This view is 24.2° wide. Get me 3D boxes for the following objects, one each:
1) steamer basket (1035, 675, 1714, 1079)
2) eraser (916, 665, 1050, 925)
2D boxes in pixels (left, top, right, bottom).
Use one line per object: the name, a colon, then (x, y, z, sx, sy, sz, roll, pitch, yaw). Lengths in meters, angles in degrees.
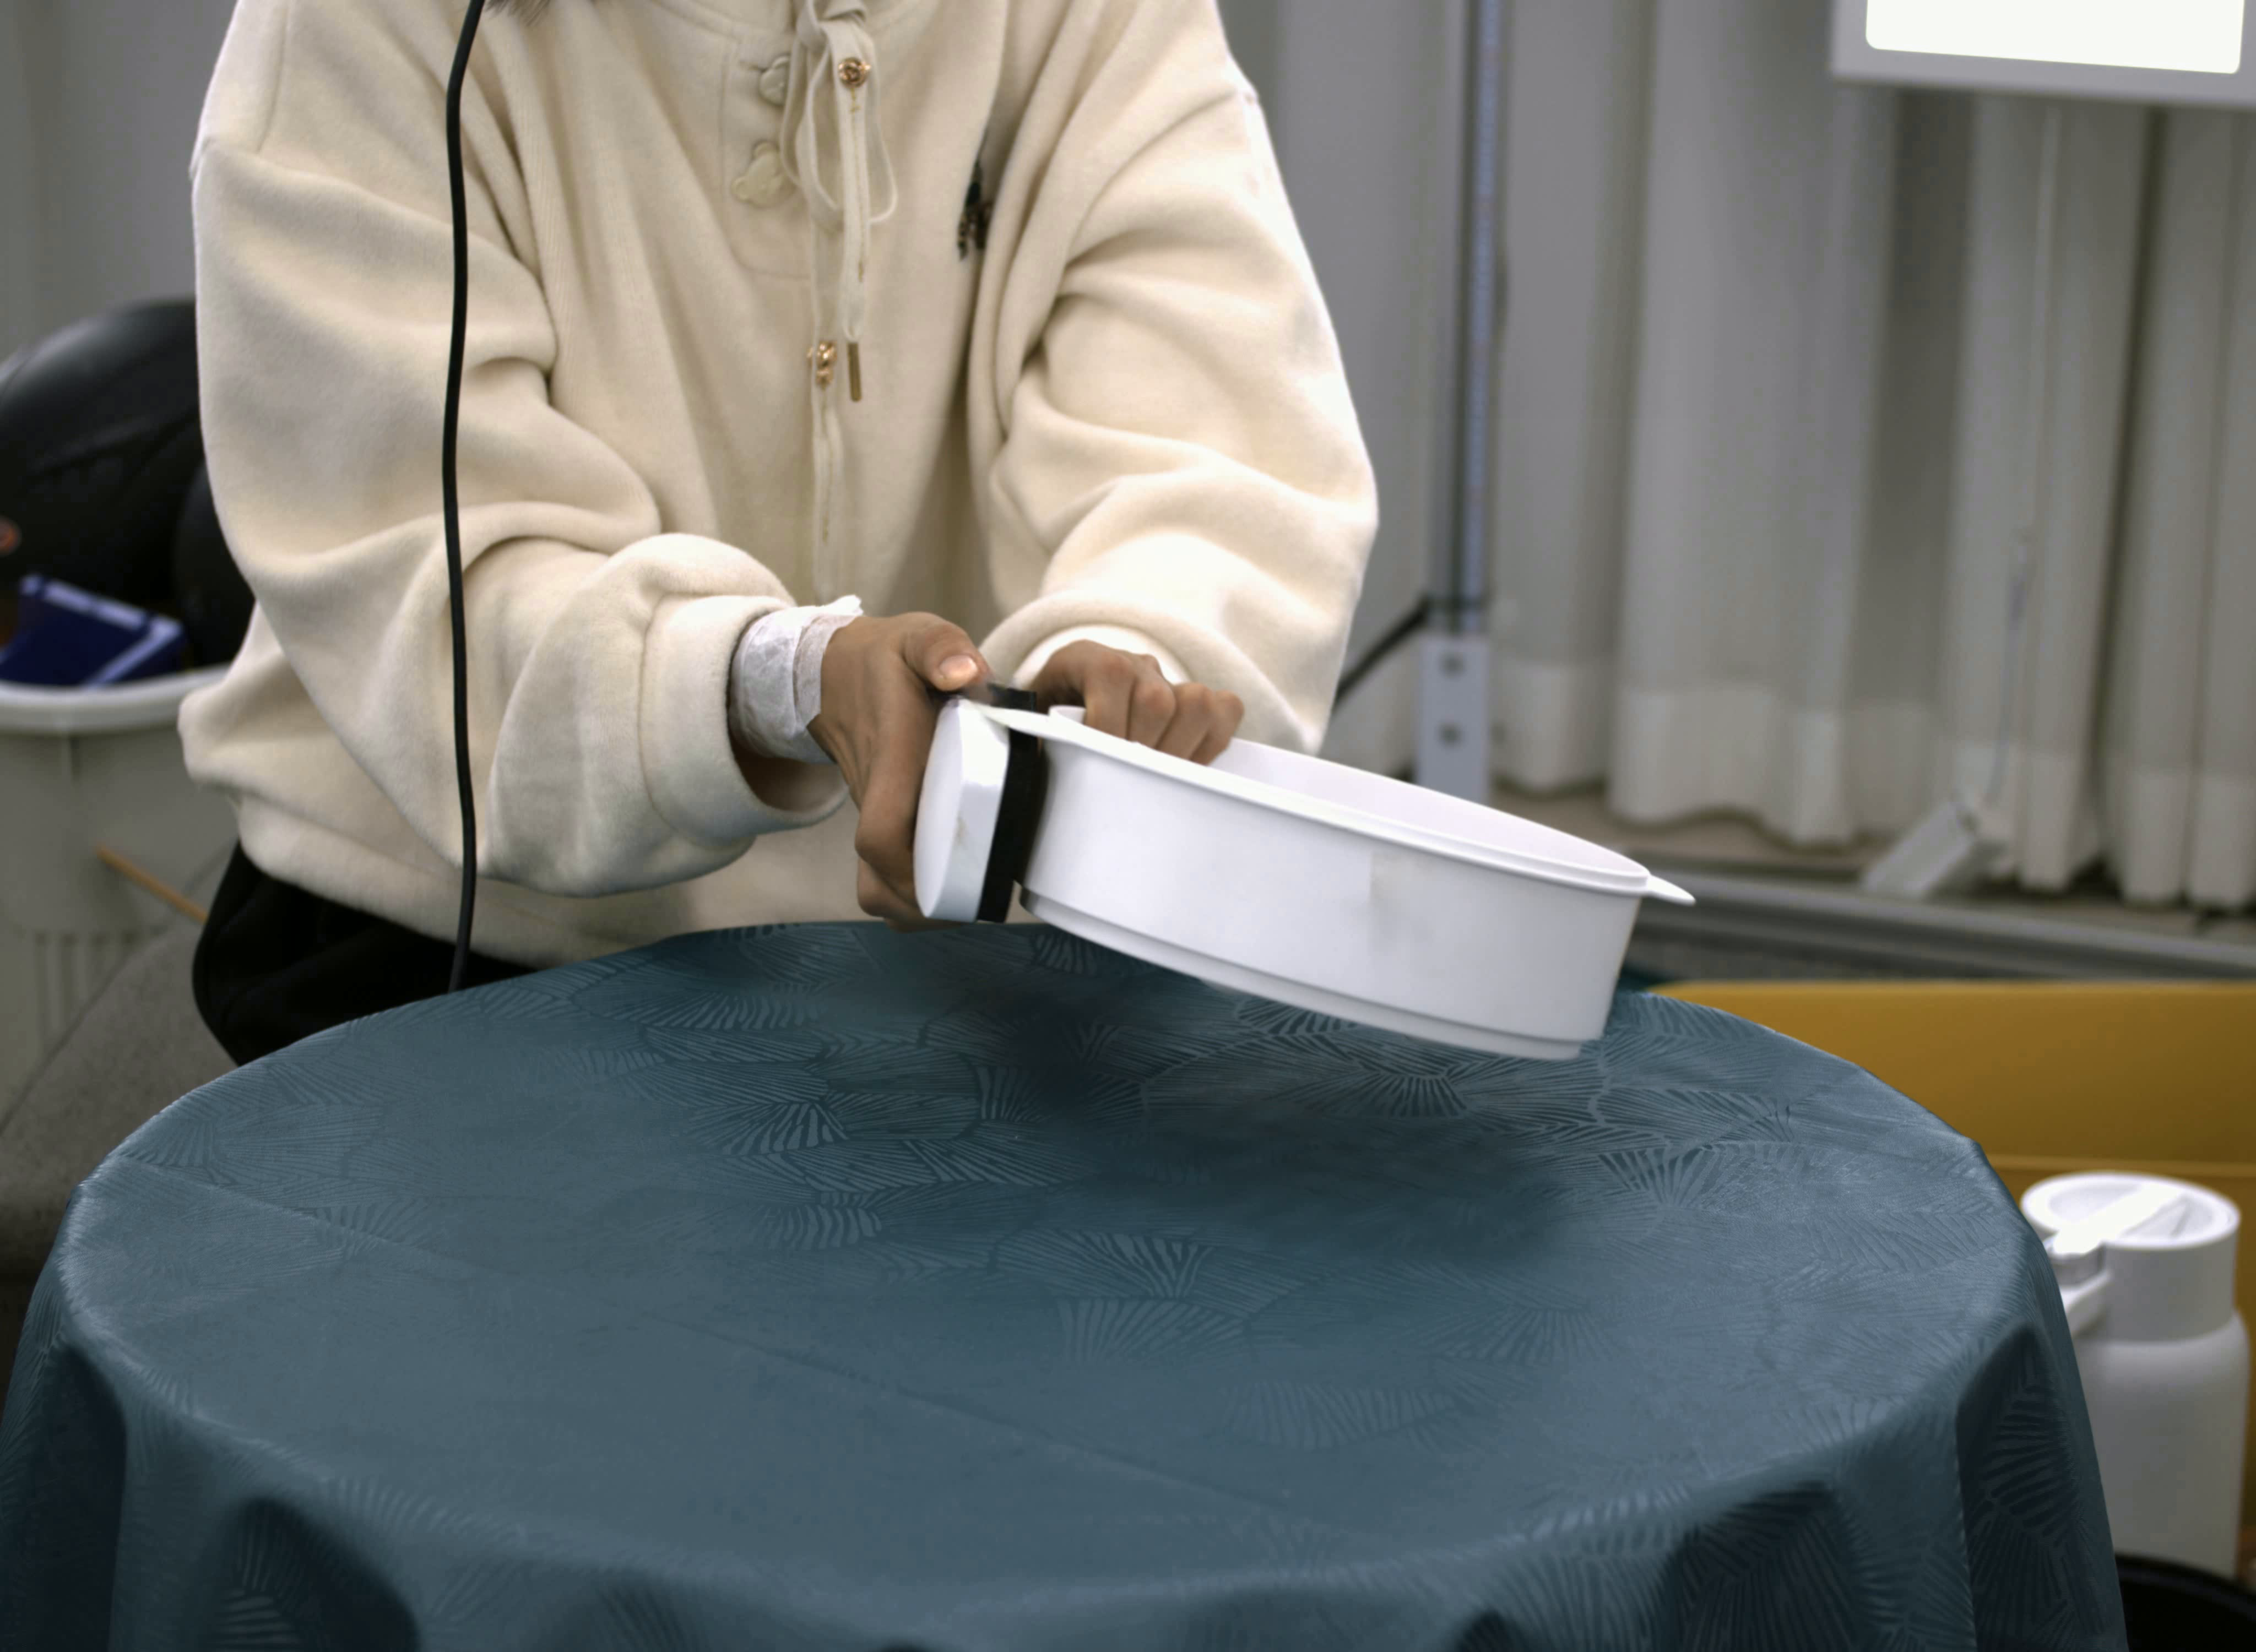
steamer basket: (0.069, 0.018, 1.667, 0.231, 0.069, 0.201, 20, 6, -11)
eraser: (-0.048, -0.012, 1.690, 0.034, 0.064, 0.130, 10, 14, -6)
